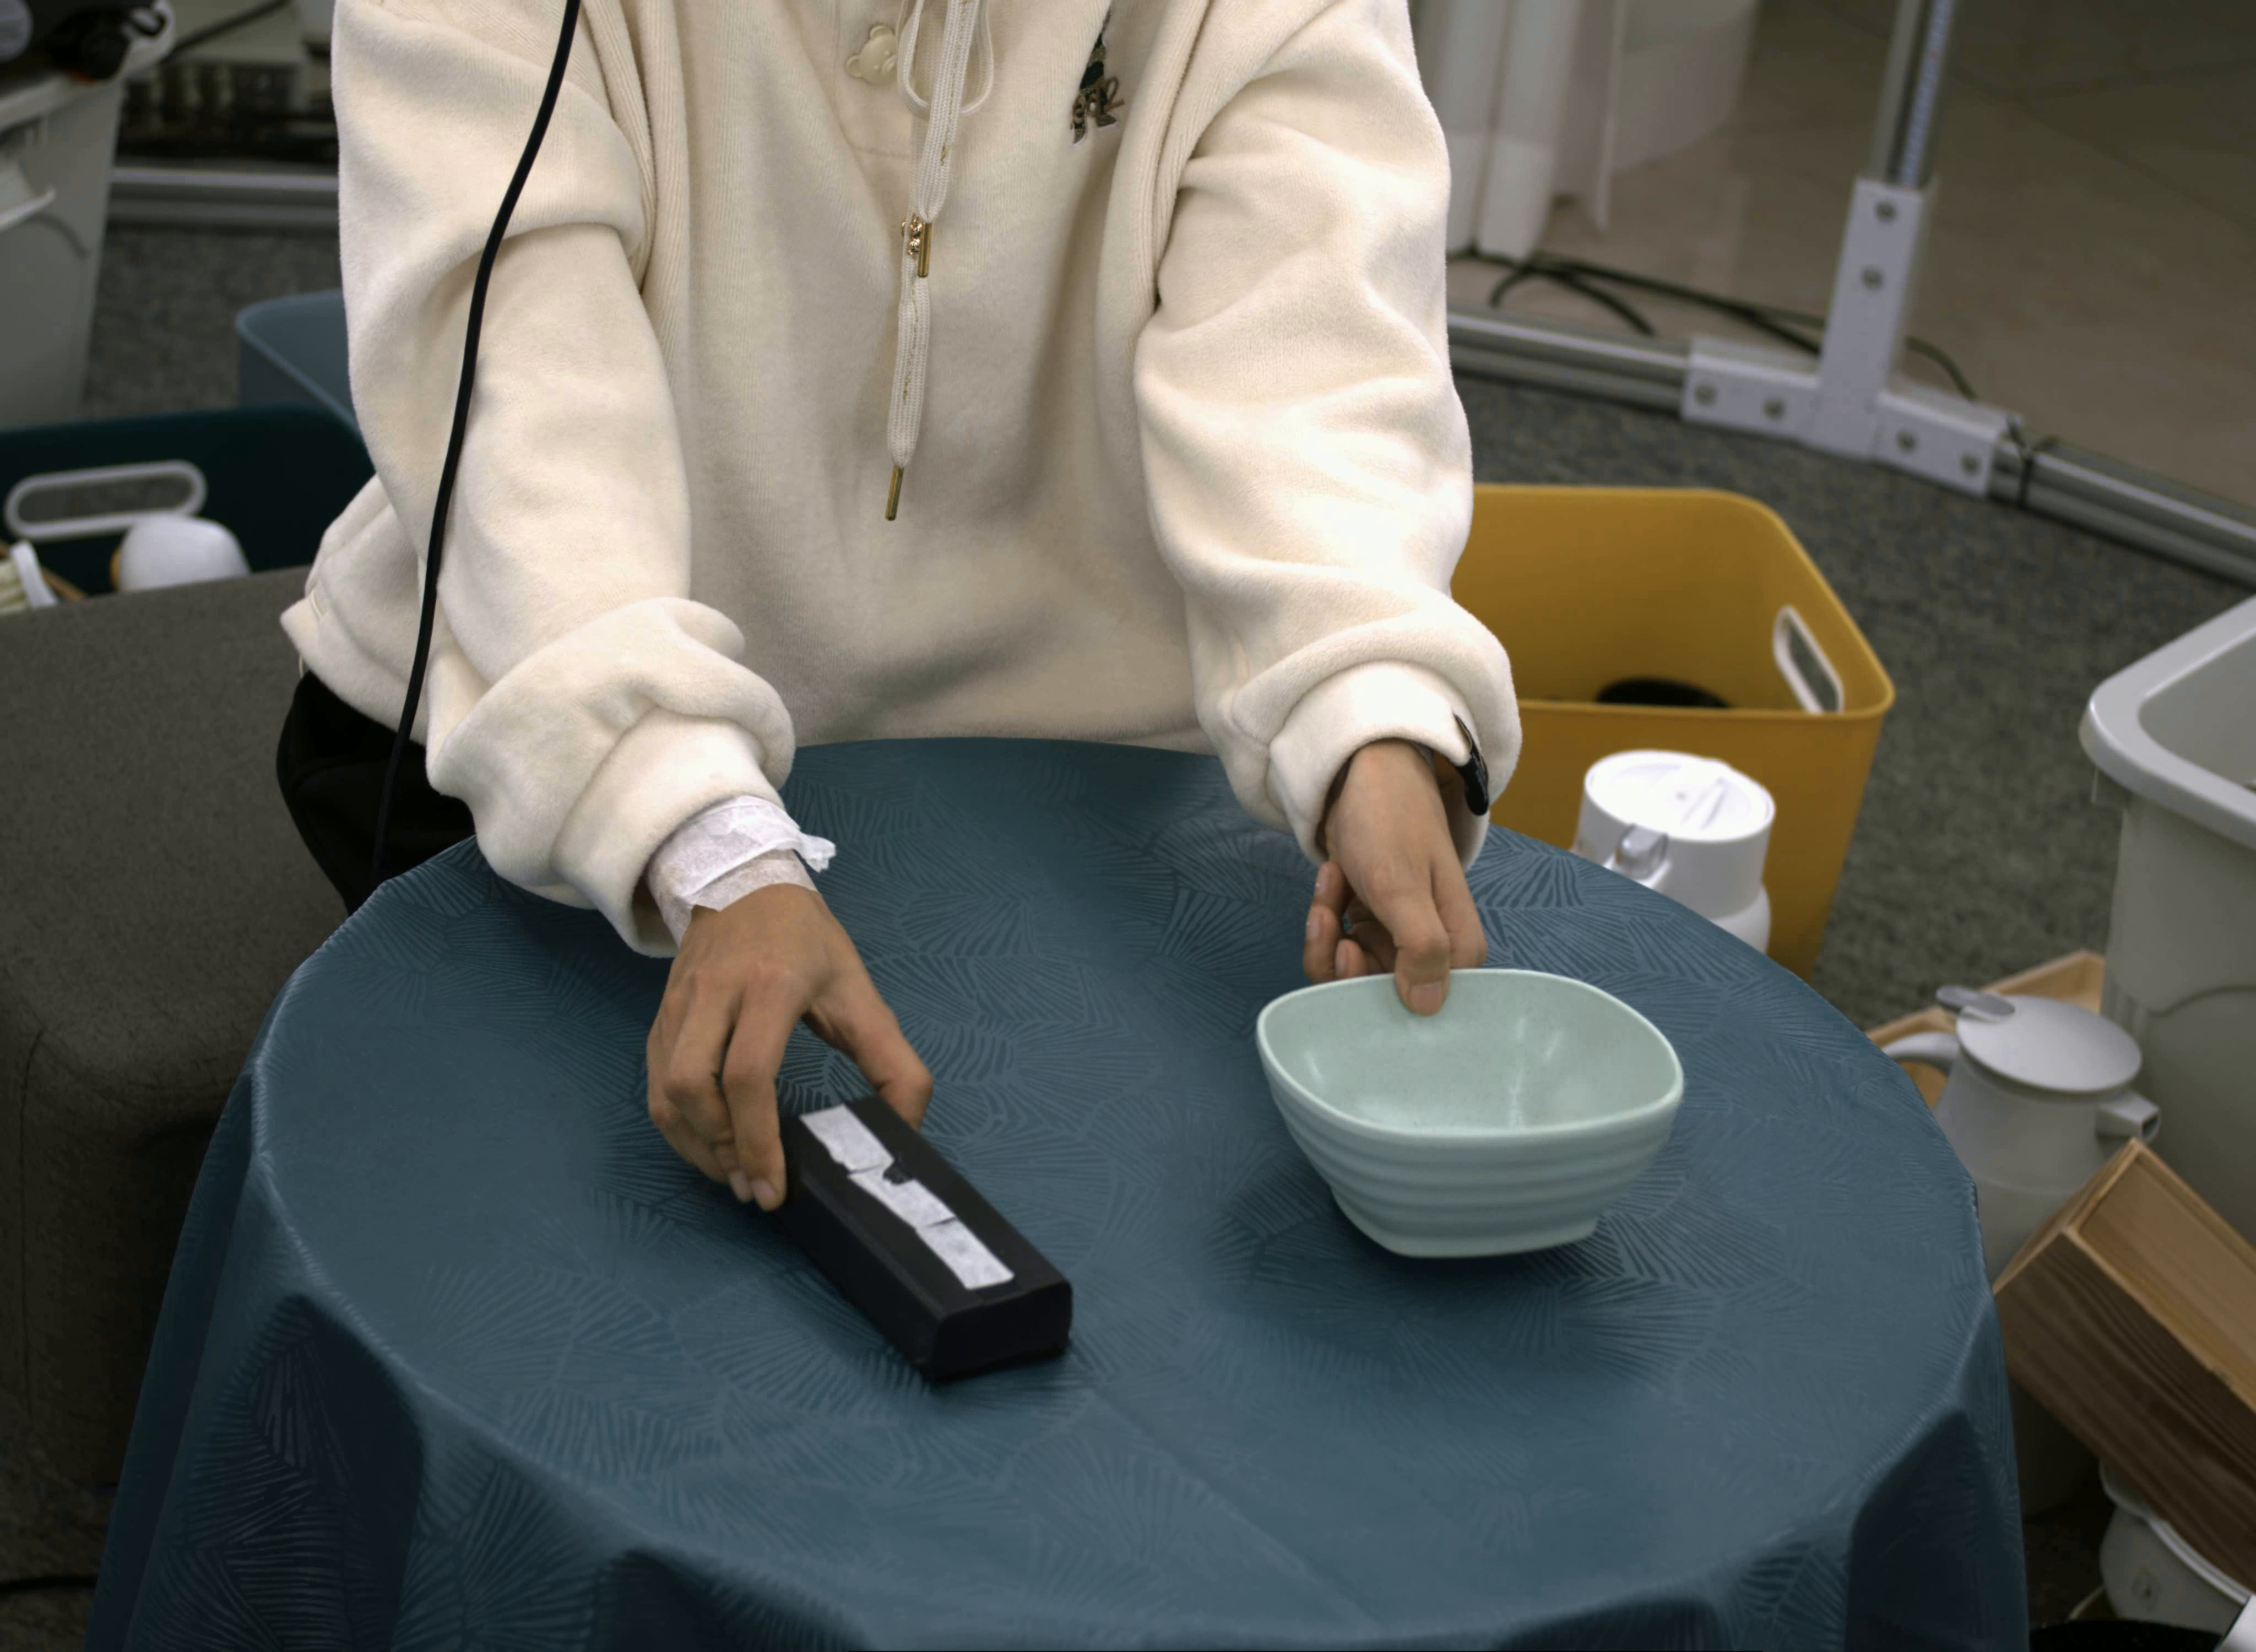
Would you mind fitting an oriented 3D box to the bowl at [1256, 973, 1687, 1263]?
[{"bbox_3d":[0.112,0.103,1.794,0.151,0.058,0.152,4,21,-2],"label":"bowl"}]

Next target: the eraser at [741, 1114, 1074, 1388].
[{"bbox_3d":[-0.073,0.137,1.727,0.053,0.030,0.126,-12,32,-32],"label":"eraser"}]
